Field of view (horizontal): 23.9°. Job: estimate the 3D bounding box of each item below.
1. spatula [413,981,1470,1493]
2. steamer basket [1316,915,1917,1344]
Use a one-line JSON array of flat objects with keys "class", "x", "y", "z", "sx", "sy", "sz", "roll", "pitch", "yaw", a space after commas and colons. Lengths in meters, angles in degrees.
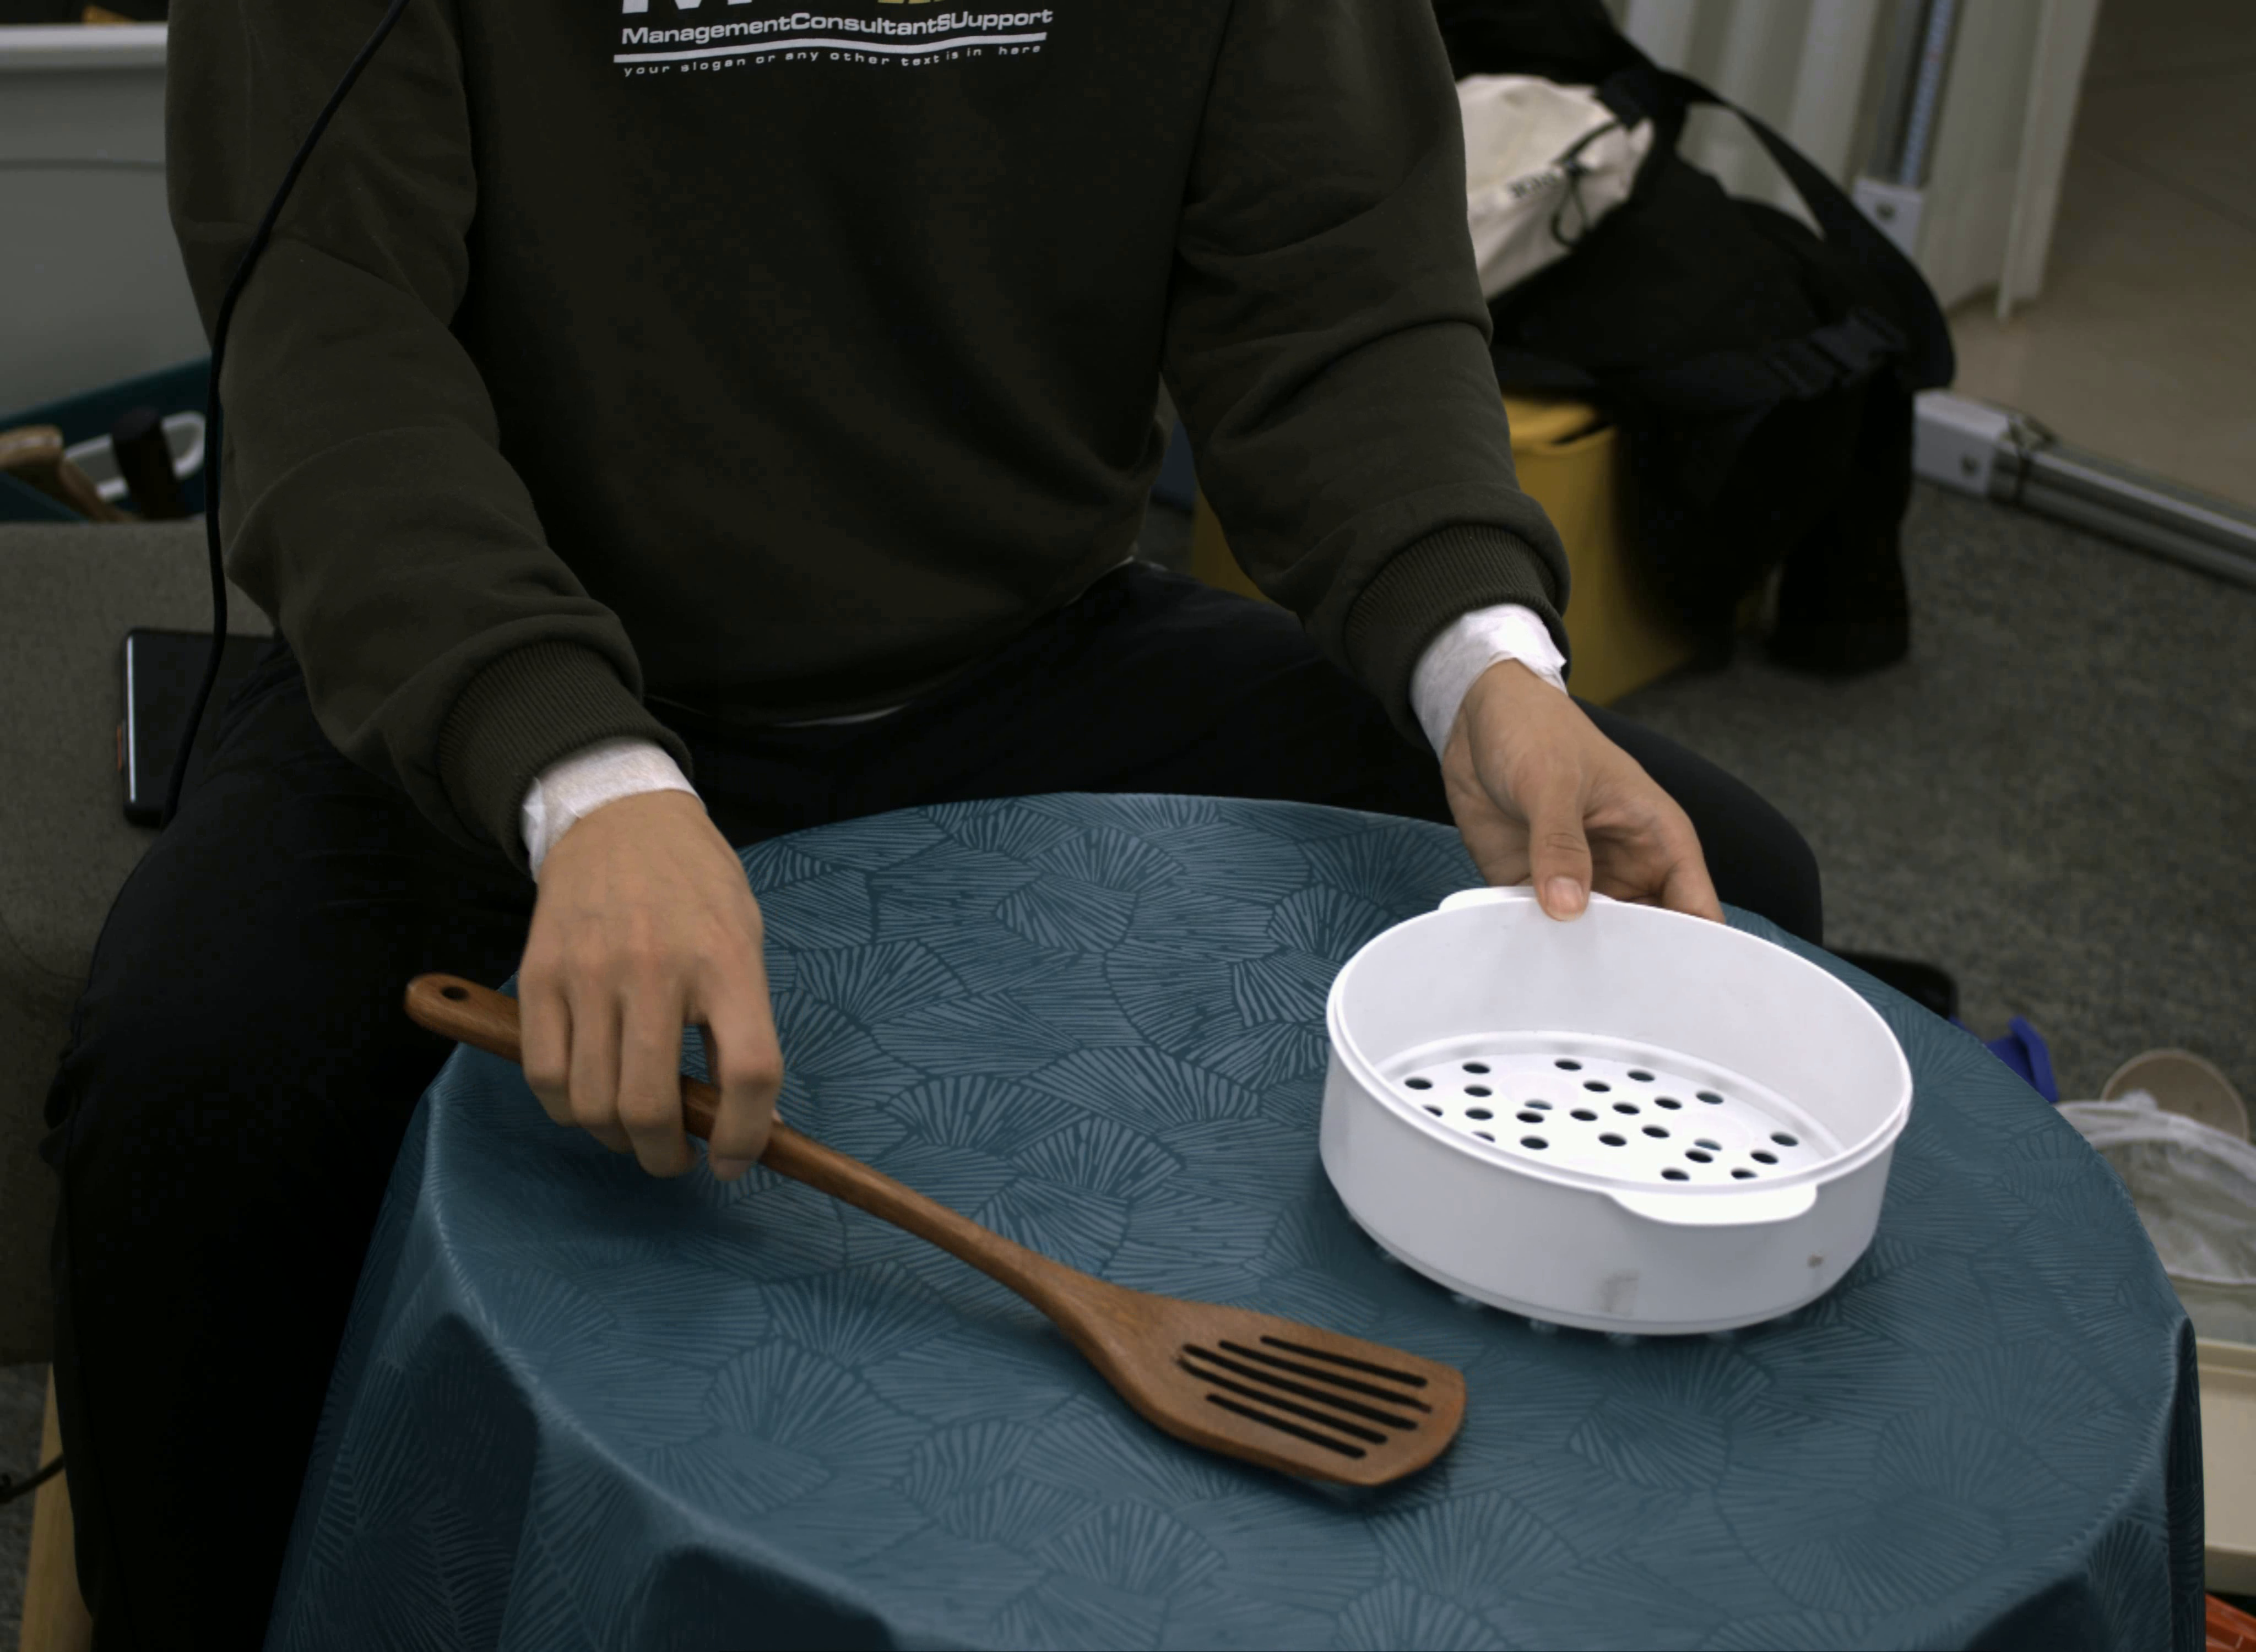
[{"class": "spatula", "x": -0.071, "y": 0.130, "z": 1.729, "sx": 0.386, "sy": 0.023, "sz": 0.086, "roll": 23, "pitch": 29, "yaw": 19}, {"class": "steamer basket", "x": 0.164, "y": 0.105, "z": 1.812, "sx": 0.200, "sy": 0.069, "sz": 0.232, "roll": 1, "pitch": 24, "yaw": -16}]
